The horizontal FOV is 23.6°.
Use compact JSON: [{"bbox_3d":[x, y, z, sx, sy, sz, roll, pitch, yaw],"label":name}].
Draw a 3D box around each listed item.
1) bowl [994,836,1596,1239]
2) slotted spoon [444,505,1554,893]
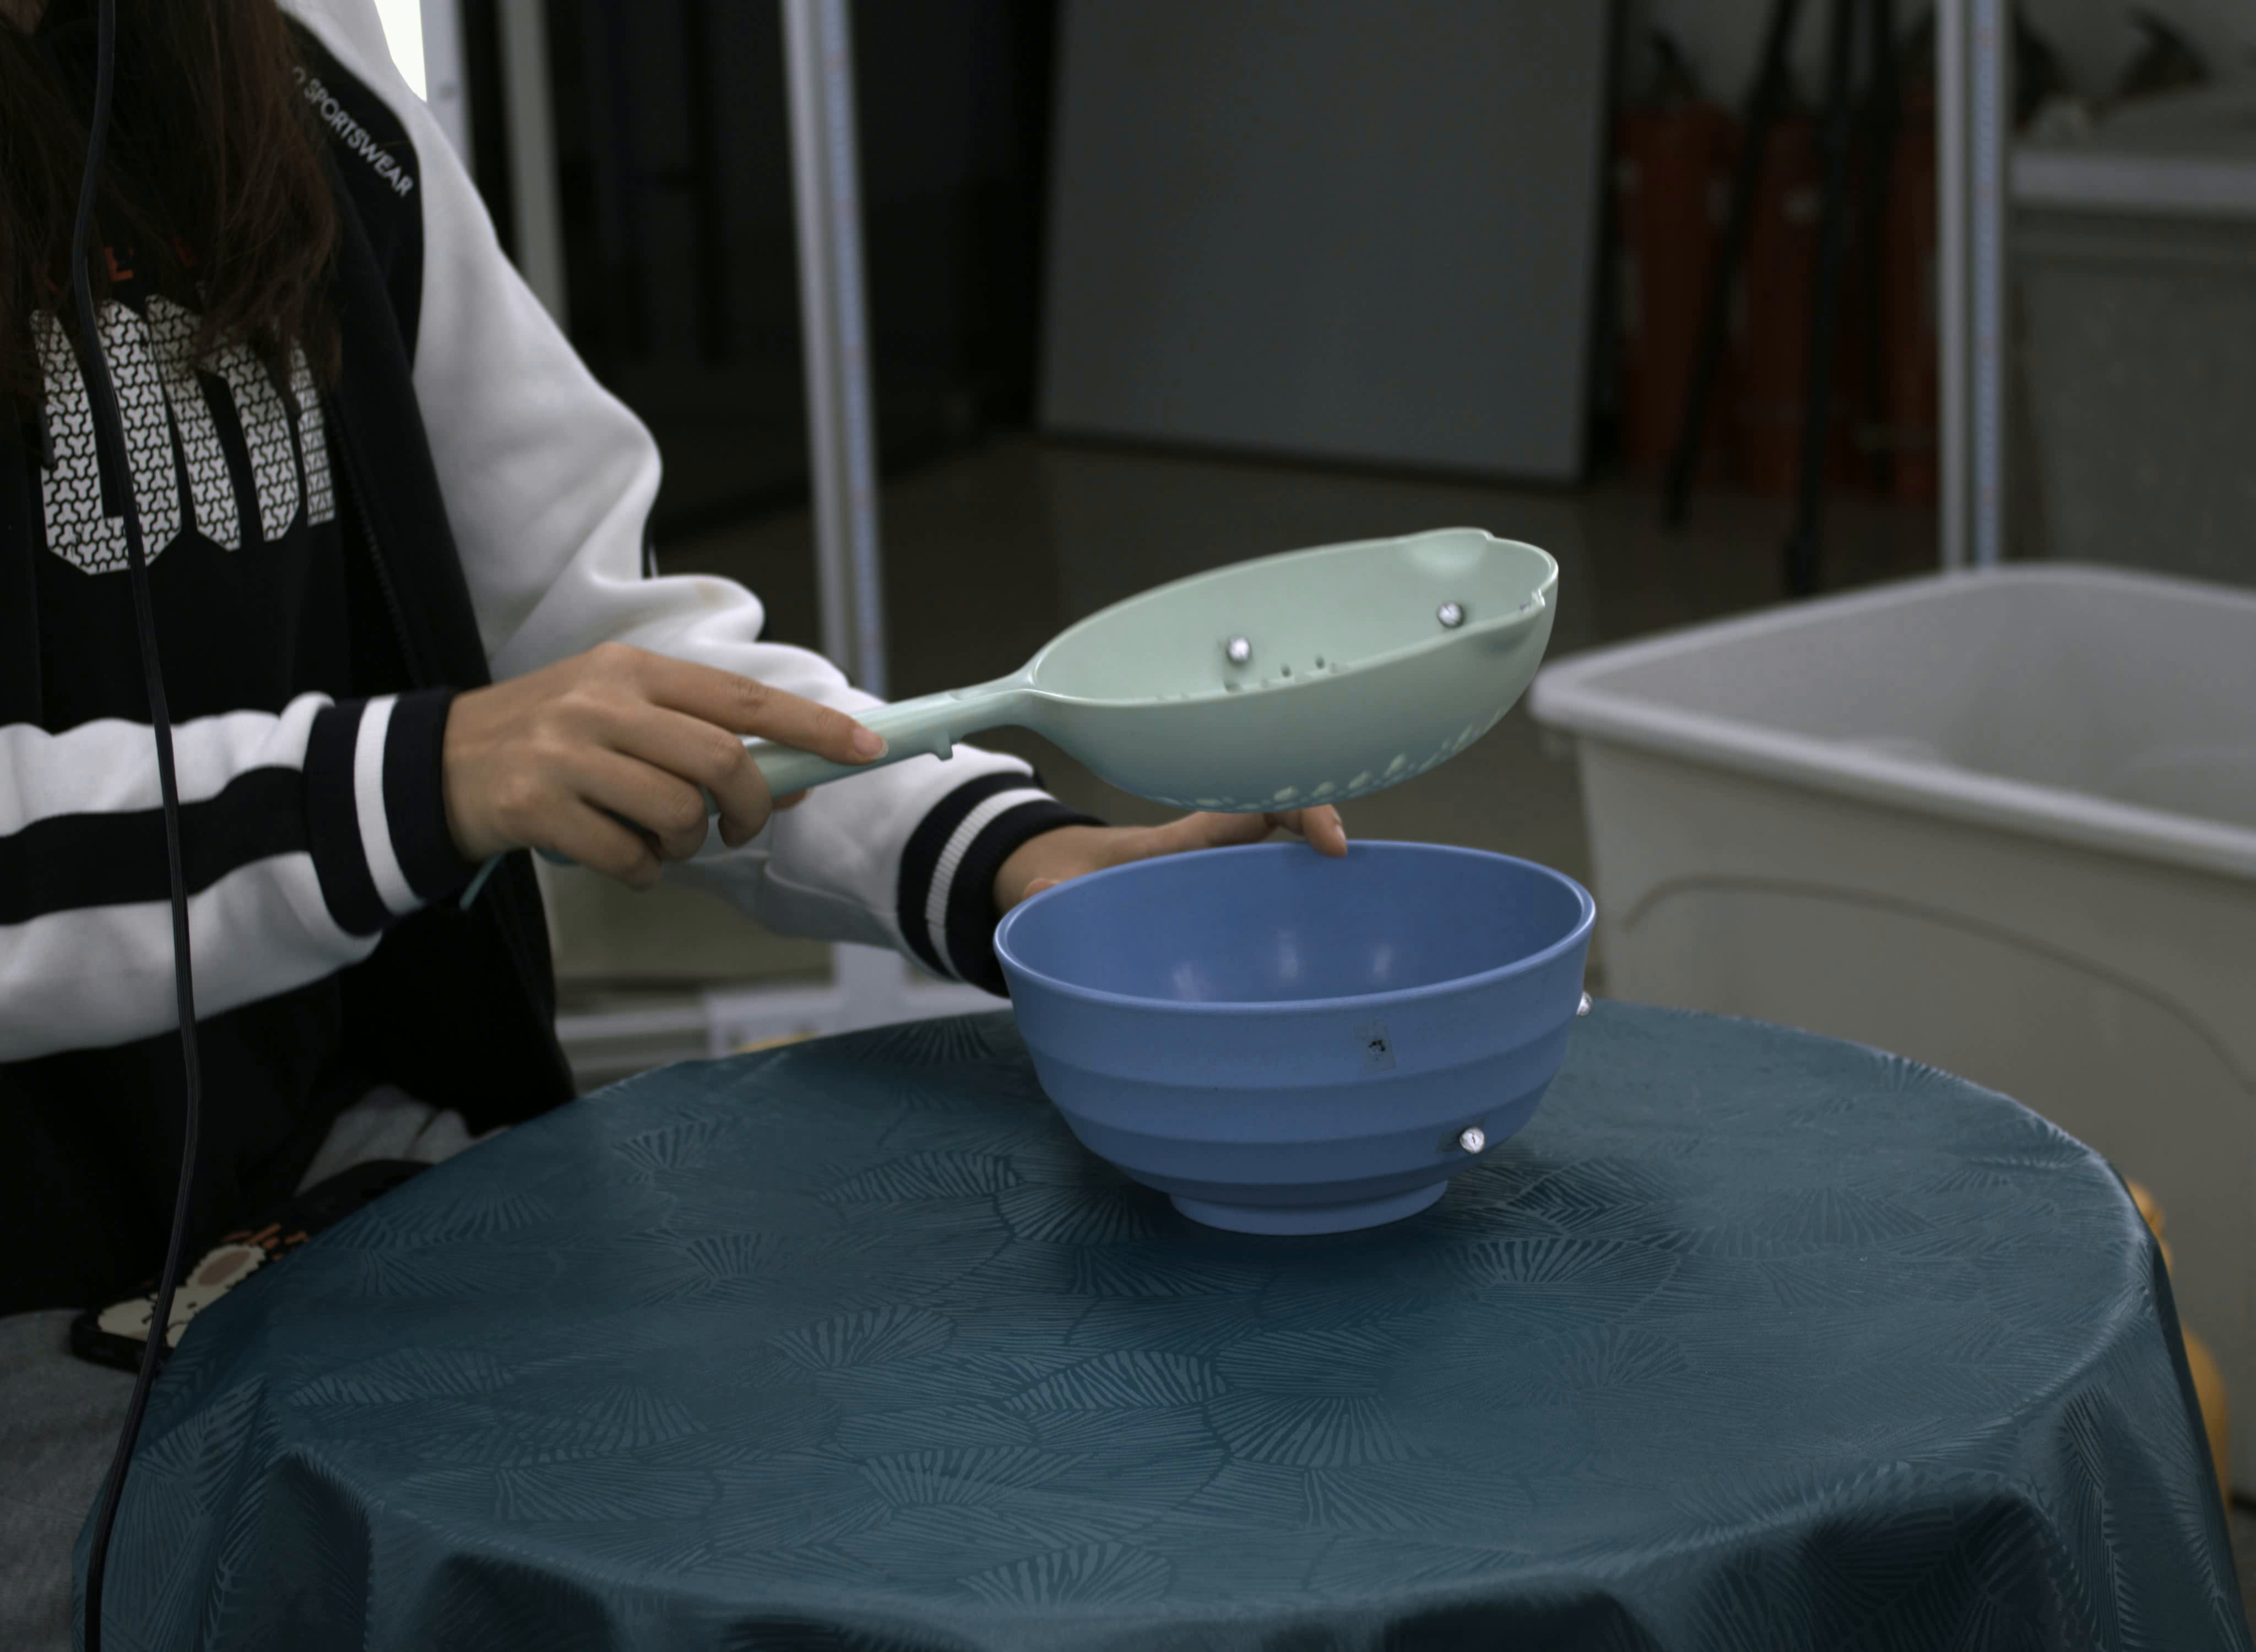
[{"bbox_3d":[0.056,0.074,1.745,0.194,0.096,0.197,-4,14,0],"label":"bowl"},{"bbox_3d":[-0.041,-0.034,1.690,0.354,0.076,0.170,-6,16,-3],"label":"slotted spoon"}]
